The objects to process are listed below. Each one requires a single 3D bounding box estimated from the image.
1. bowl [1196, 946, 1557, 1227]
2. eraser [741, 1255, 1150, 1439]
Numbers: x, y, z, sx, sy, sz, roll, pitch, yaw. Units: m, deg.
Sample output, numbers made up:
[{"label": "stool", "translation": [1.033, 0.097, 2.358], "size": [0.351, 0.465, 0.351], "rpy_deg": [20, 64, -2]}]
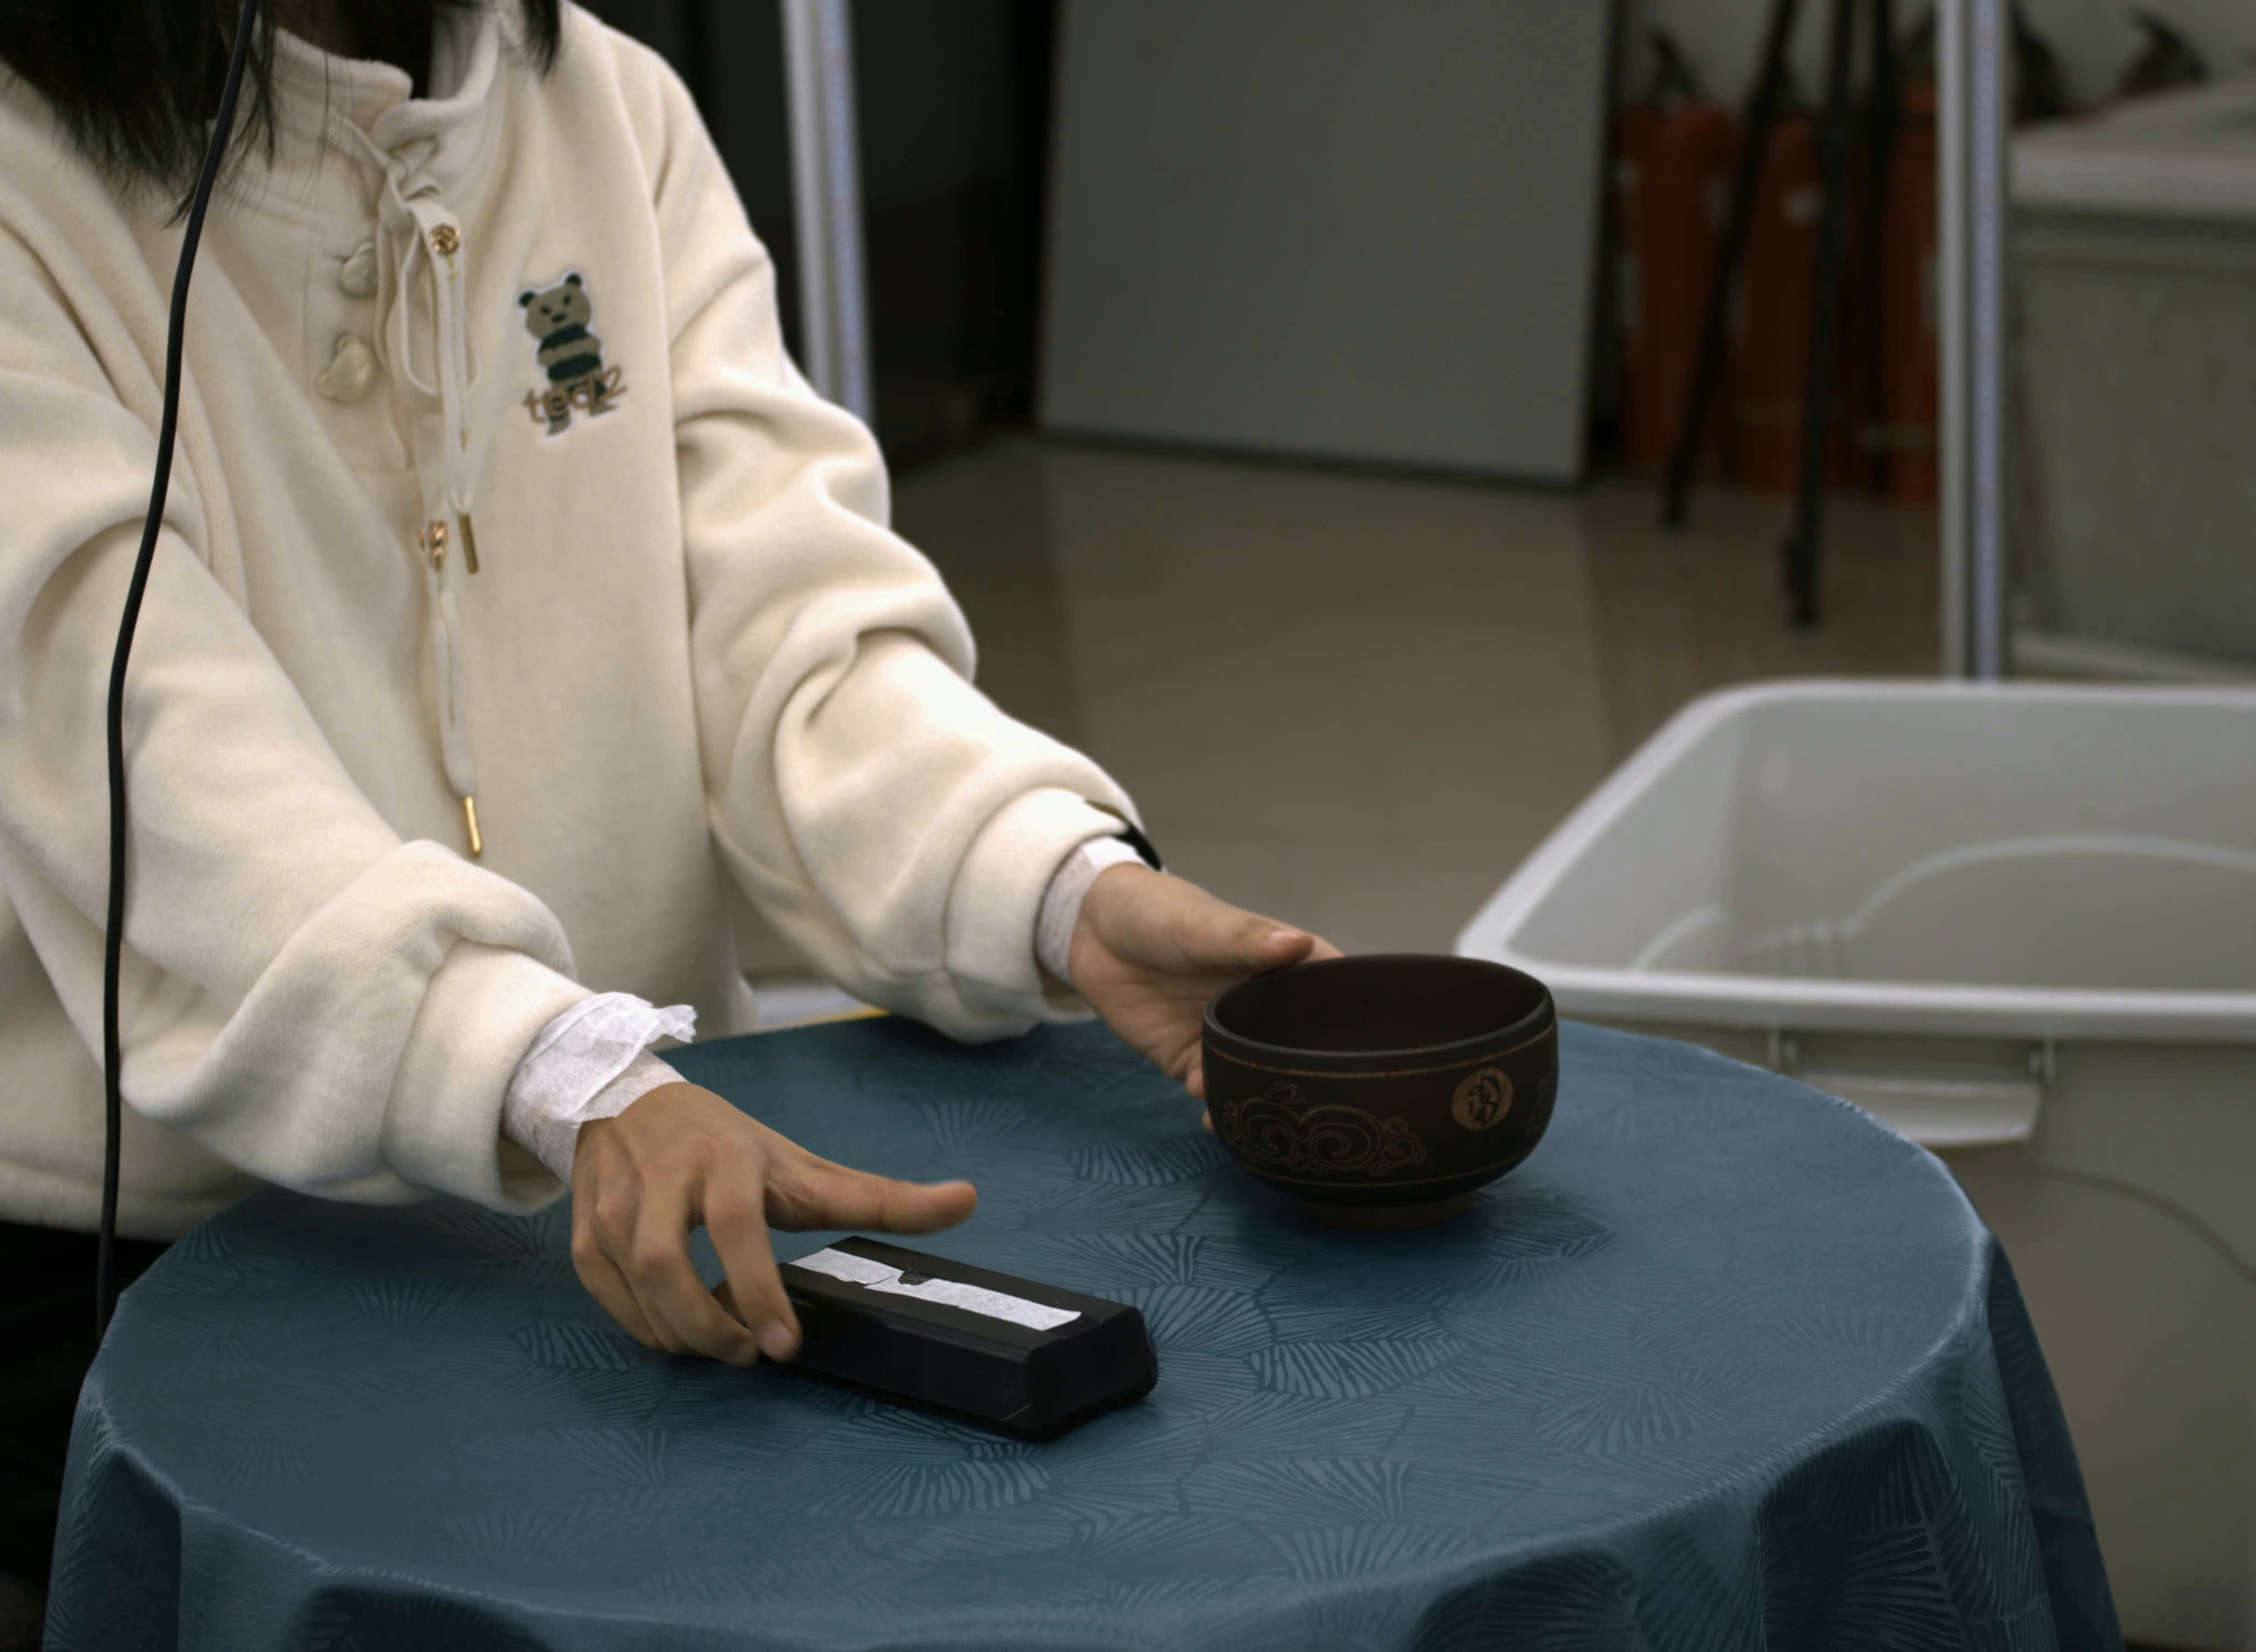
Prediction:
[{"label": "bowl", "translation": [0.081, 0.087, 1.731], "size": [0.116, 0.070, 0.118], "rpy_deg": [-5, 13, 0]}, {"label": "eraser", "translation": [-0.054, 0.153, 1.599], "size": [0.126, 0.031, 0.052], "rpy_deg": [6, 16, 44]}]
